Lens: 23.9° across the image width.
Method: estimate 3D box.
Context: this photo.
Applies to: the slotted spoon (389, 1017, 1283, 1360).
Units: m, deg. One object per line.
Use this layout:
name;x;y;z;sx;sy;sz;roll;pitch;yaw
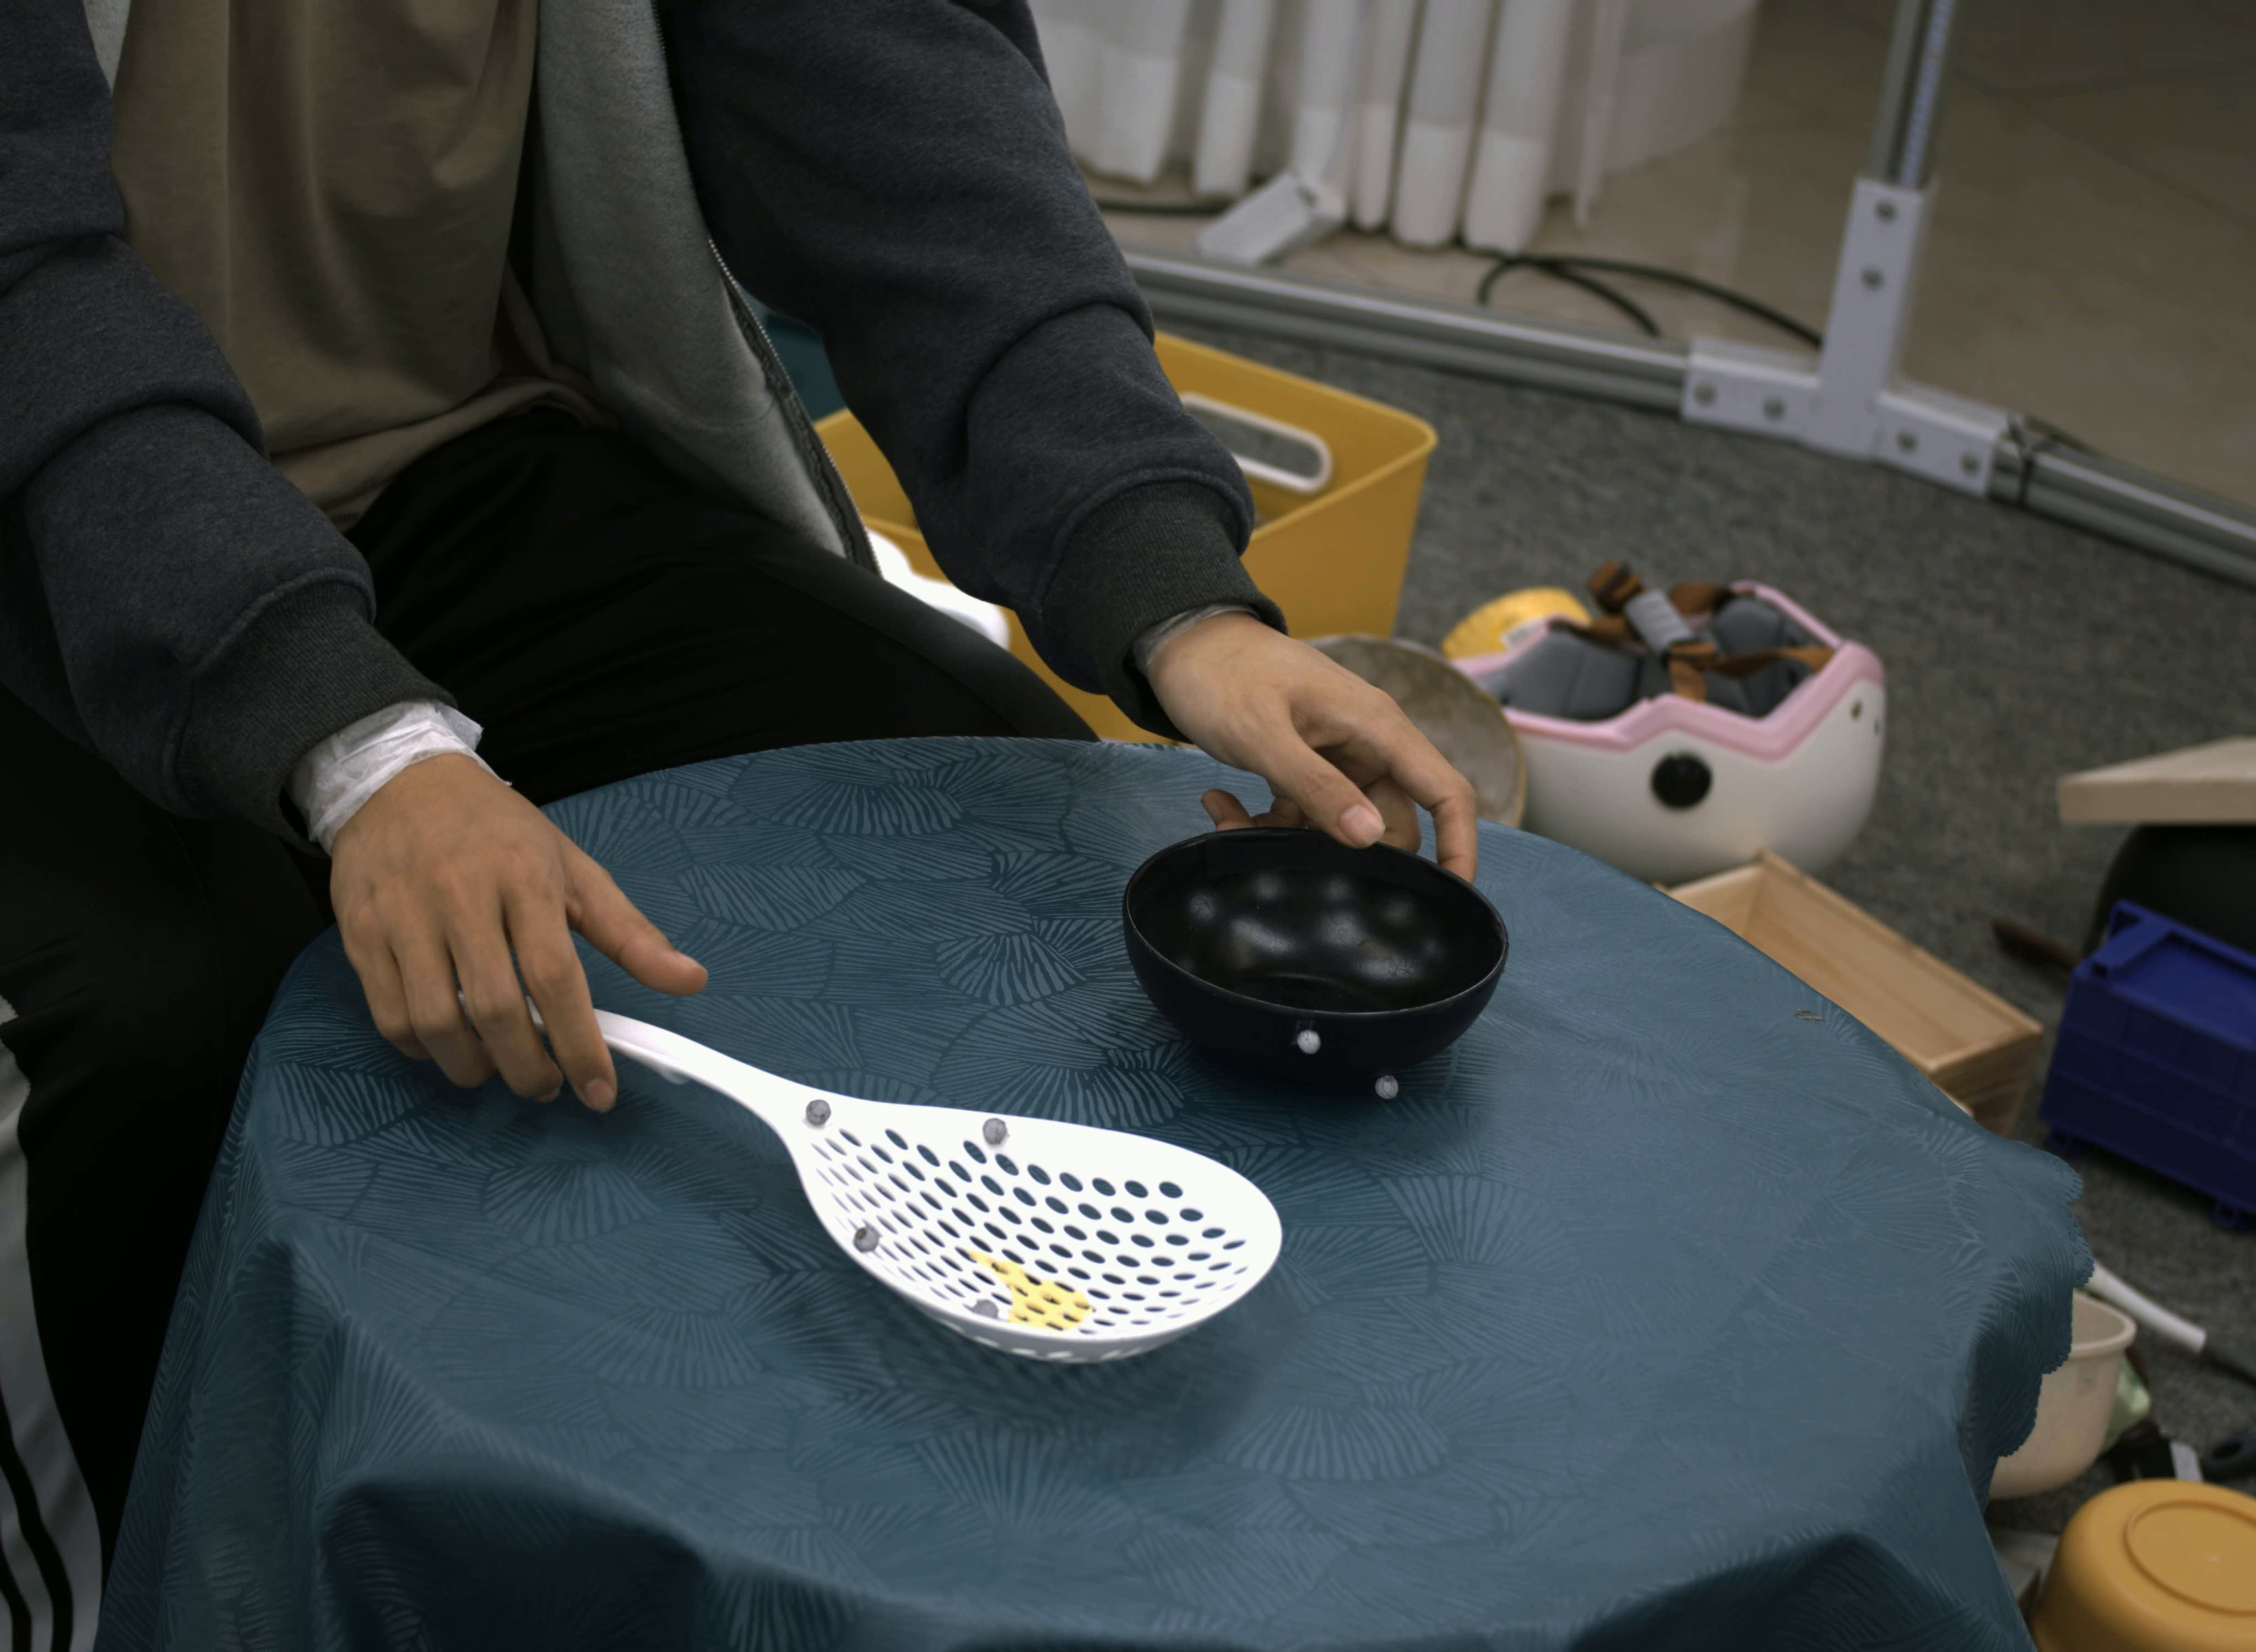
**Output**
slotted spoon;-0.109;0.106;1.768;0.350;0.050;0.136;23;34;30
